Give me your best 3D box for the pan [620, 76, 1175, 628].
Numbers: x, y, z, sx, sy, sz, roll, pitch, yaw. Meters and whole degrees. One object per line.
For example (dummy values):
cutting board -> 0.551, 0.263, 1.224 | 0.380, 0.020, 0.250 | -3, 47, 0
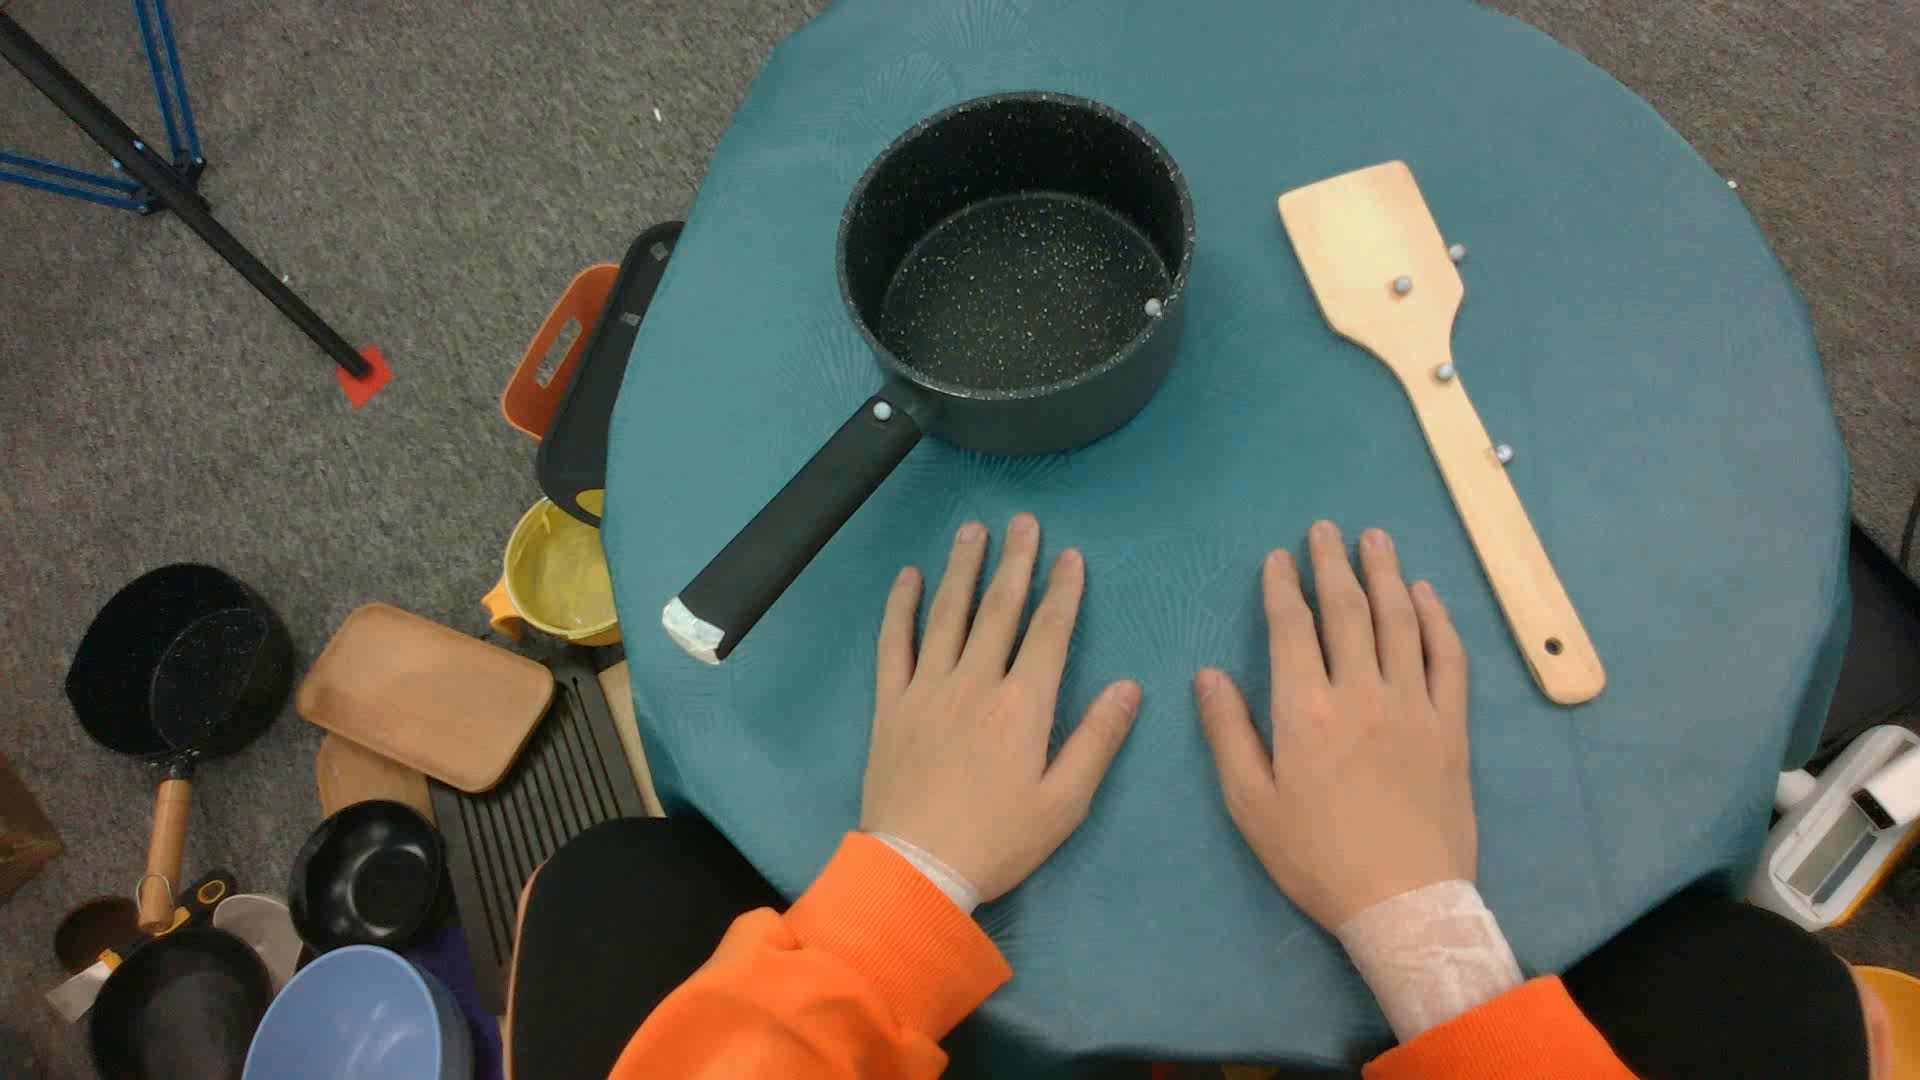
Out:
pan -> -0.030, -0.078, 0.662 | 0.172, 0.086, 0.329 | 34, 74, 20

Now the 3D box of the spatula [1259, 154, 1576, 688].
spatula -> 0.225, -0.065, 0.663 | 0.072, 0.010, 0.294 | -15, 66, -2
